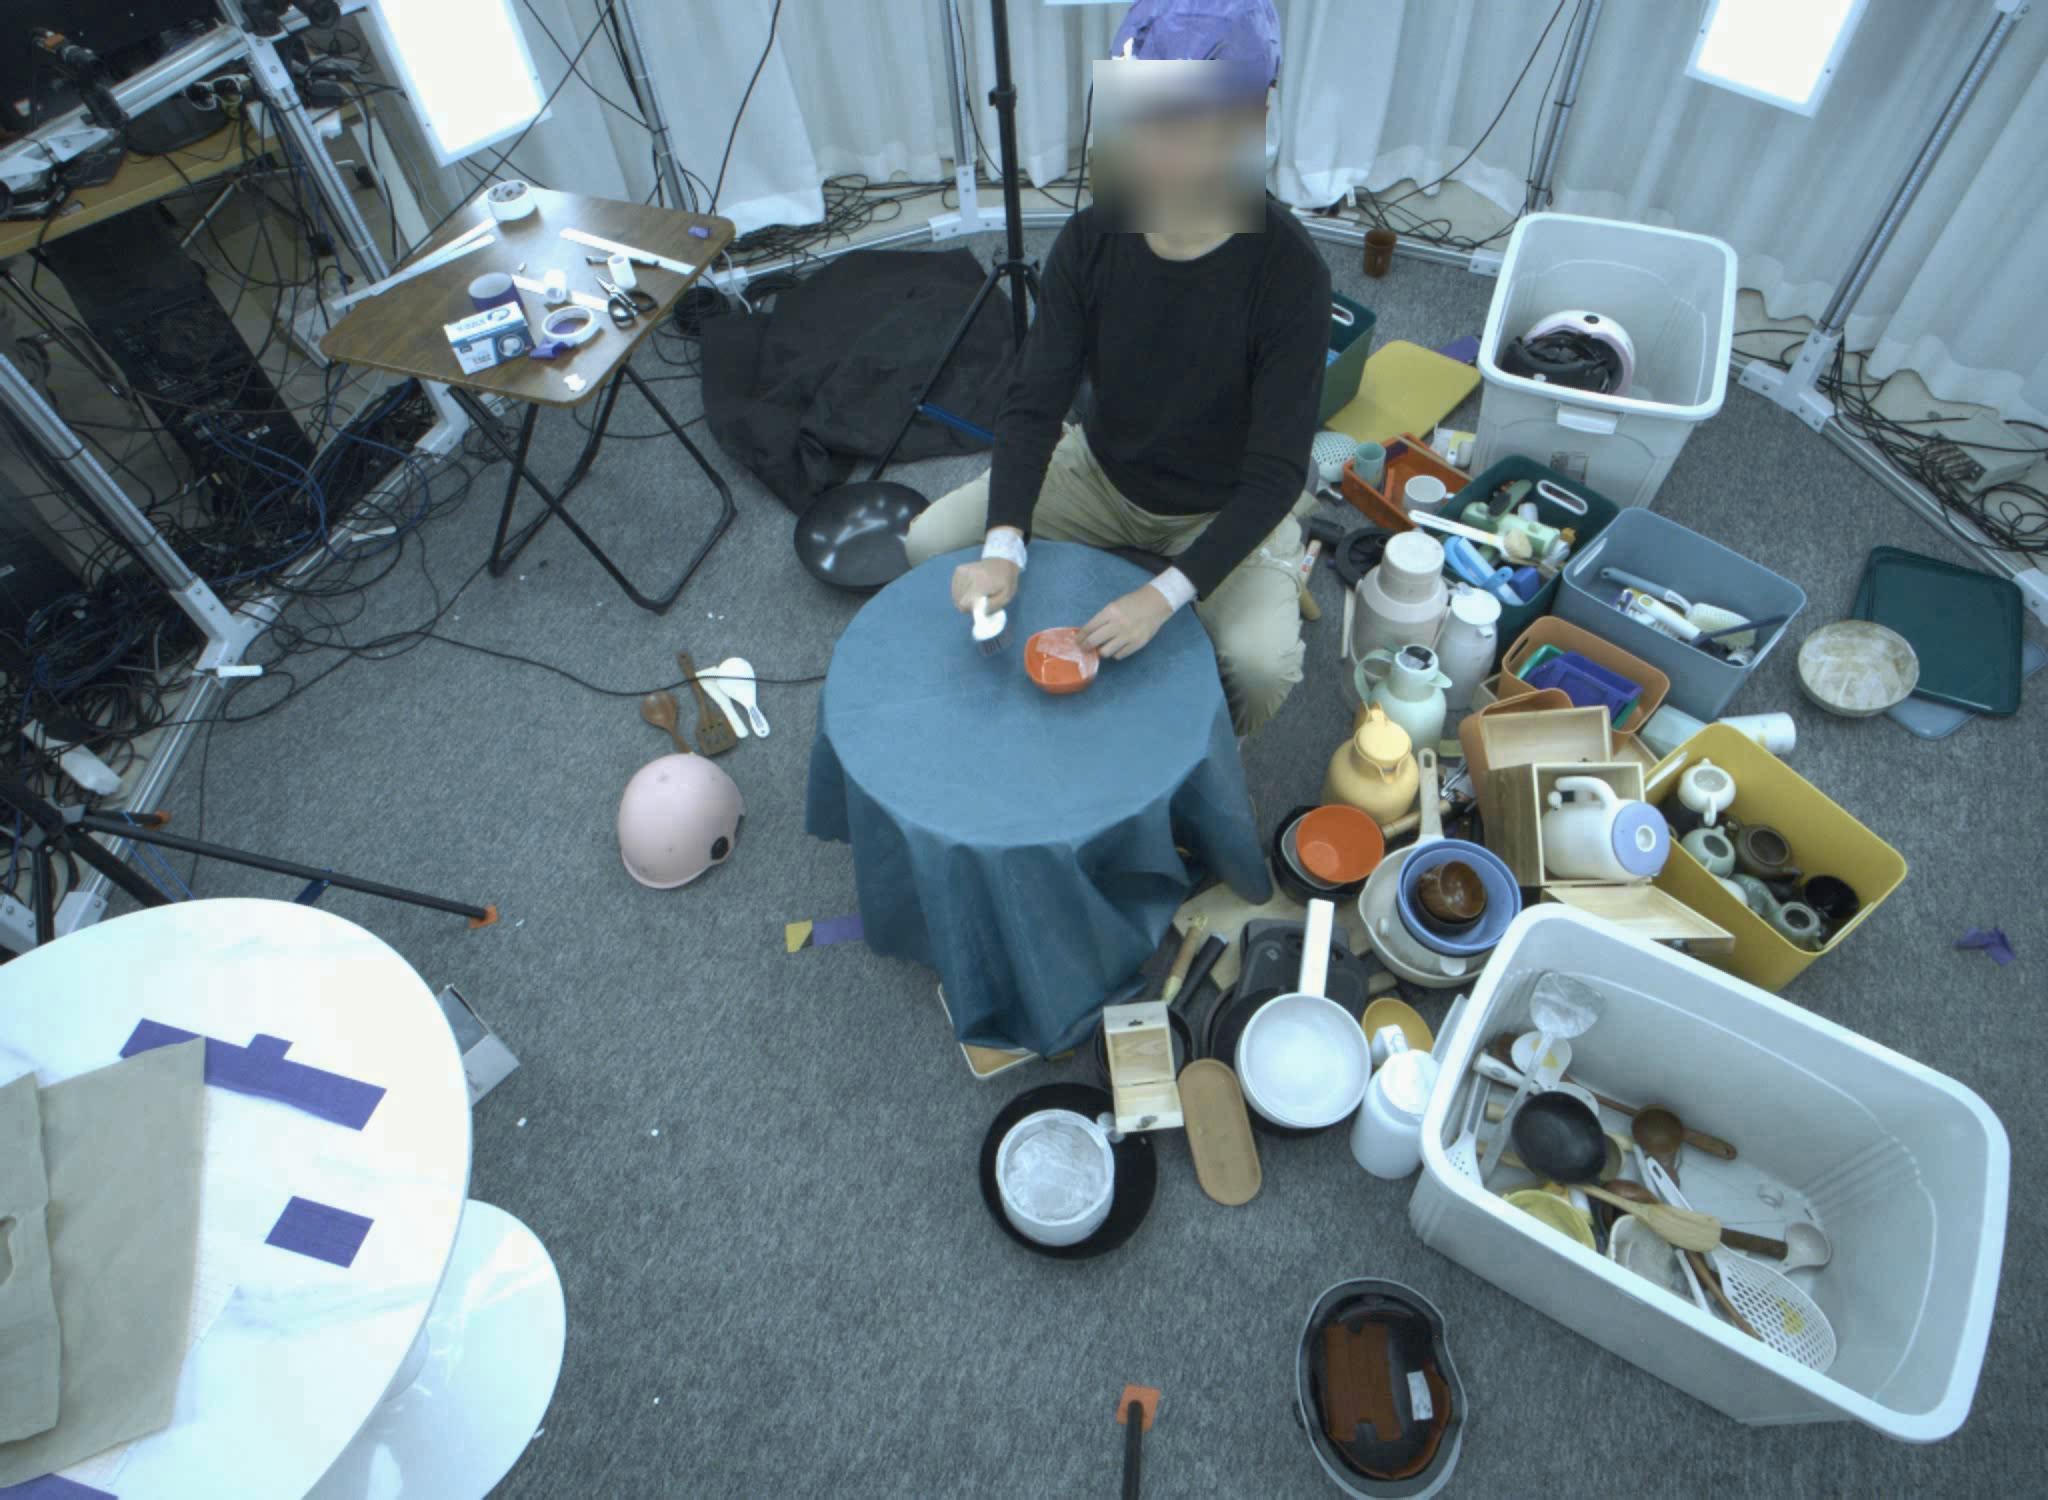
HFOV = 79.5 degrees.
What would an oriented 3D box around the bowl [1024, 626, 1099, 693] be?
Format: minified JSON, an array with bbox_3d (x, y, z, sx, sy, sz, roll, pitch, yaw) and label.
[{"bbox_3d":[0.056,-0.128,1.845,0.119,0.052,0.118,-1,56,2],"label":"bowl"}]

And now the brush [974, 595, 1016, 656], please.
[{"bbox_3d":[-0.051,-0.191,1.817,0.050,0.073,0.098,-19,25,15],"label":"brush"}]
